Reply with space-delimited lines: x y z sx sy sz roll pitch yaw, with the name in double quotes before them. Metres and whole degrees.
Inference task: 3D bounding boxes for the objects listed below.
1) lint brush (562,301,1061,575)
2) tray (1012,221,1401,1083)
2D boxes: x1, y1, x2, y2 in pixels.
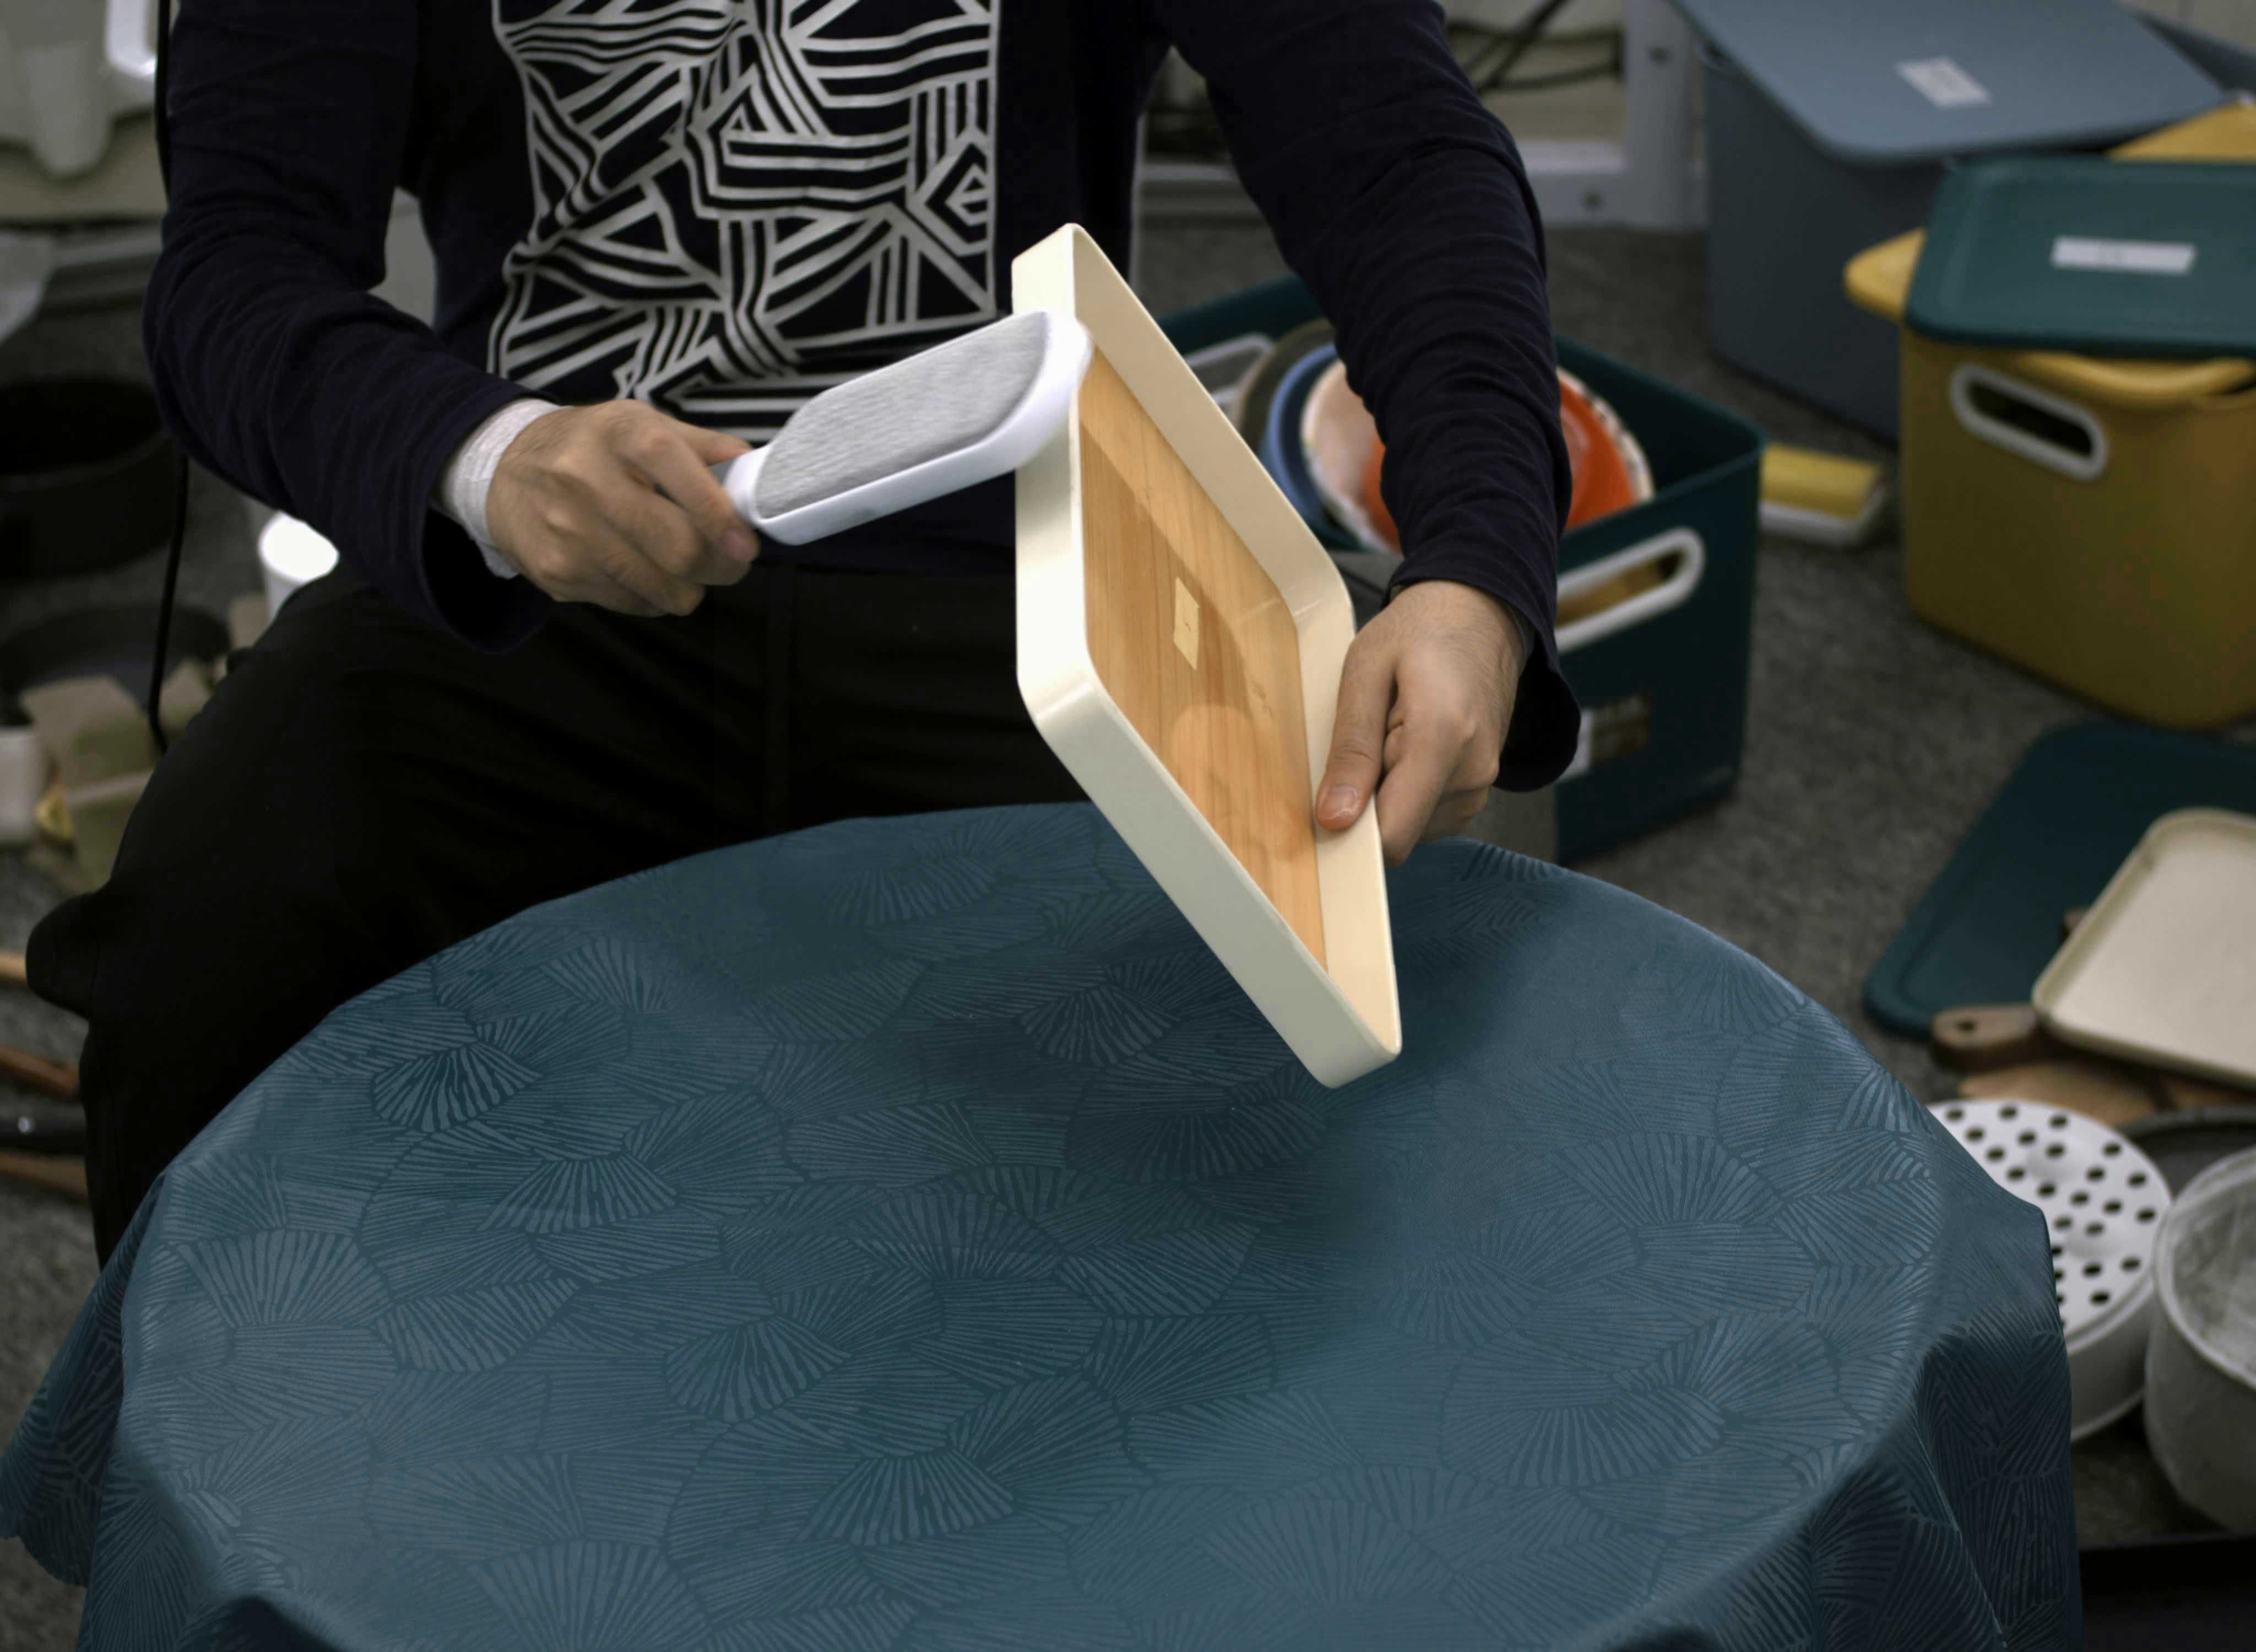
"lint brush" -0.111 -0.123 1.885 0.021 0.061 0.305 29 -23 -27
"tray" 0.023 -0.063 1.879 0.027 0.190 0.305 -29 29 16
